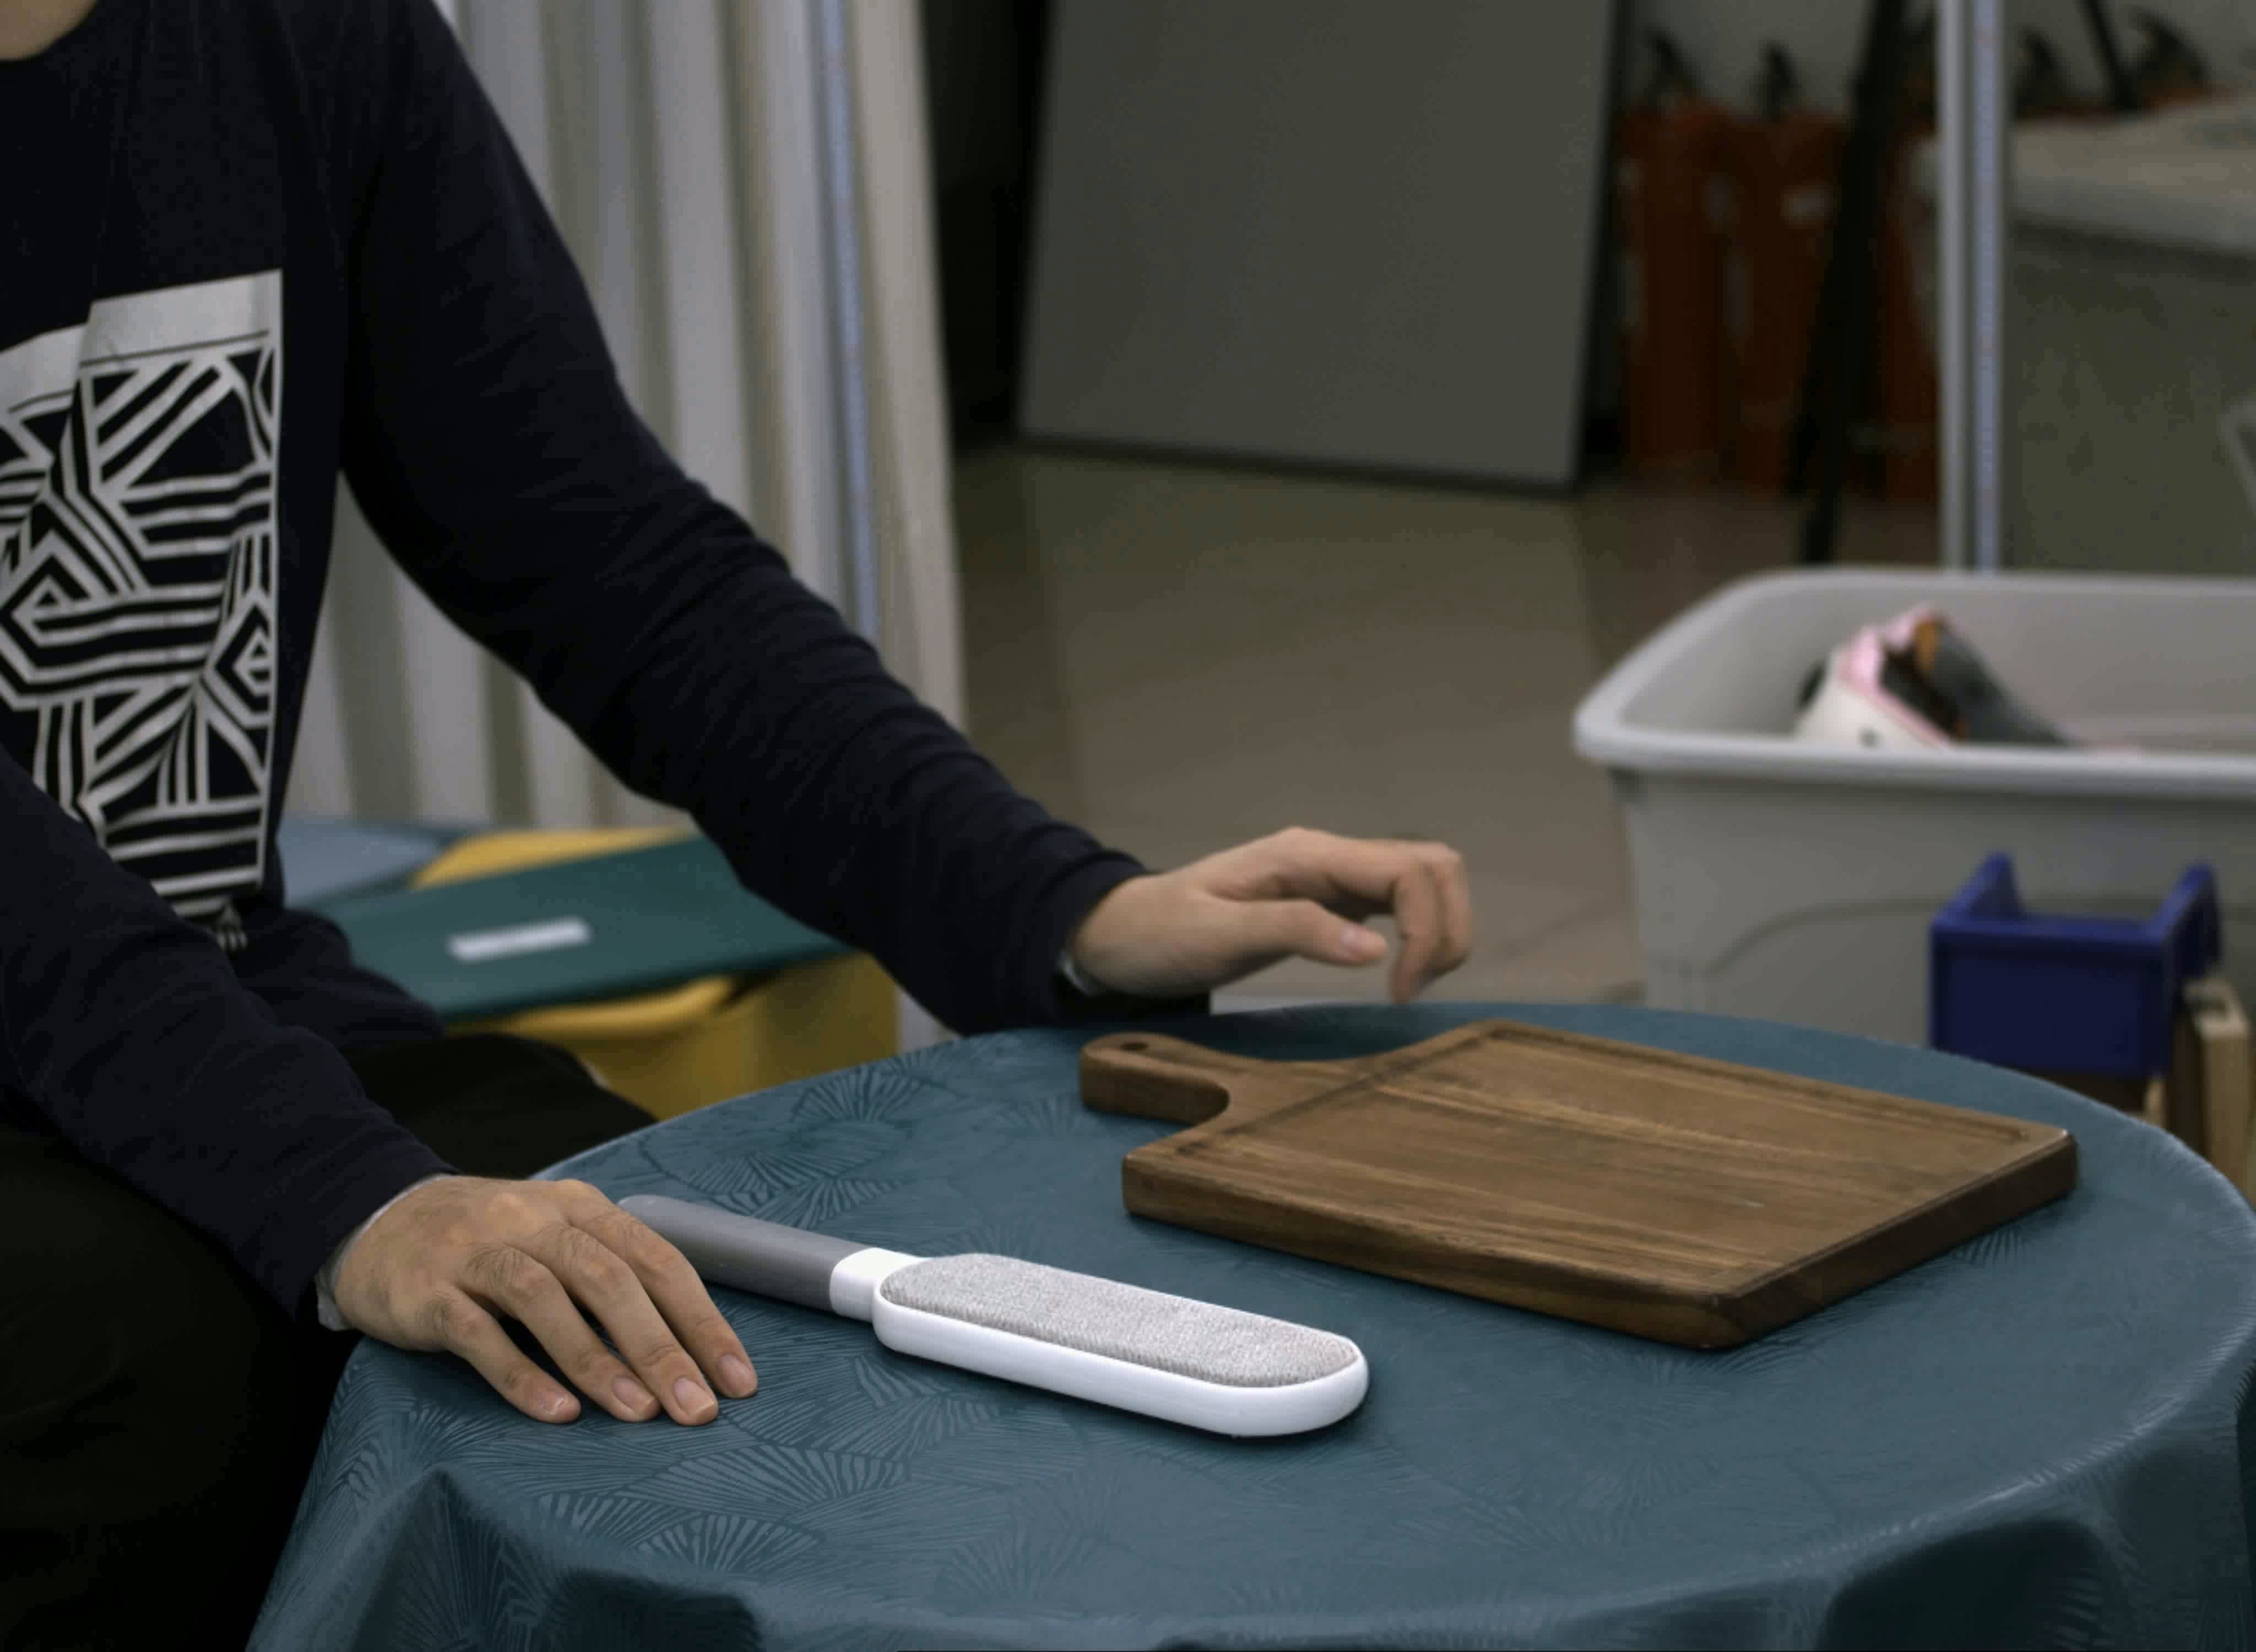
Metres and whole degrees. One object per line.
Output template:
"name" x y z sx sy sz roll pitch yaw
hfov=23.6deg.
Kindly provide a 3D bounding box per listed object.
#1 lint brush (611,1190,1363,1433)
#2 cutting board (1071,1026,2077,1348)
"lint brush" -0.050 0.143 1.641 0.311 0.021 0.059 9 24 43
"cutting board" 0.114 0.106 1.762 0.355 0.023 0.197 8 18 44
